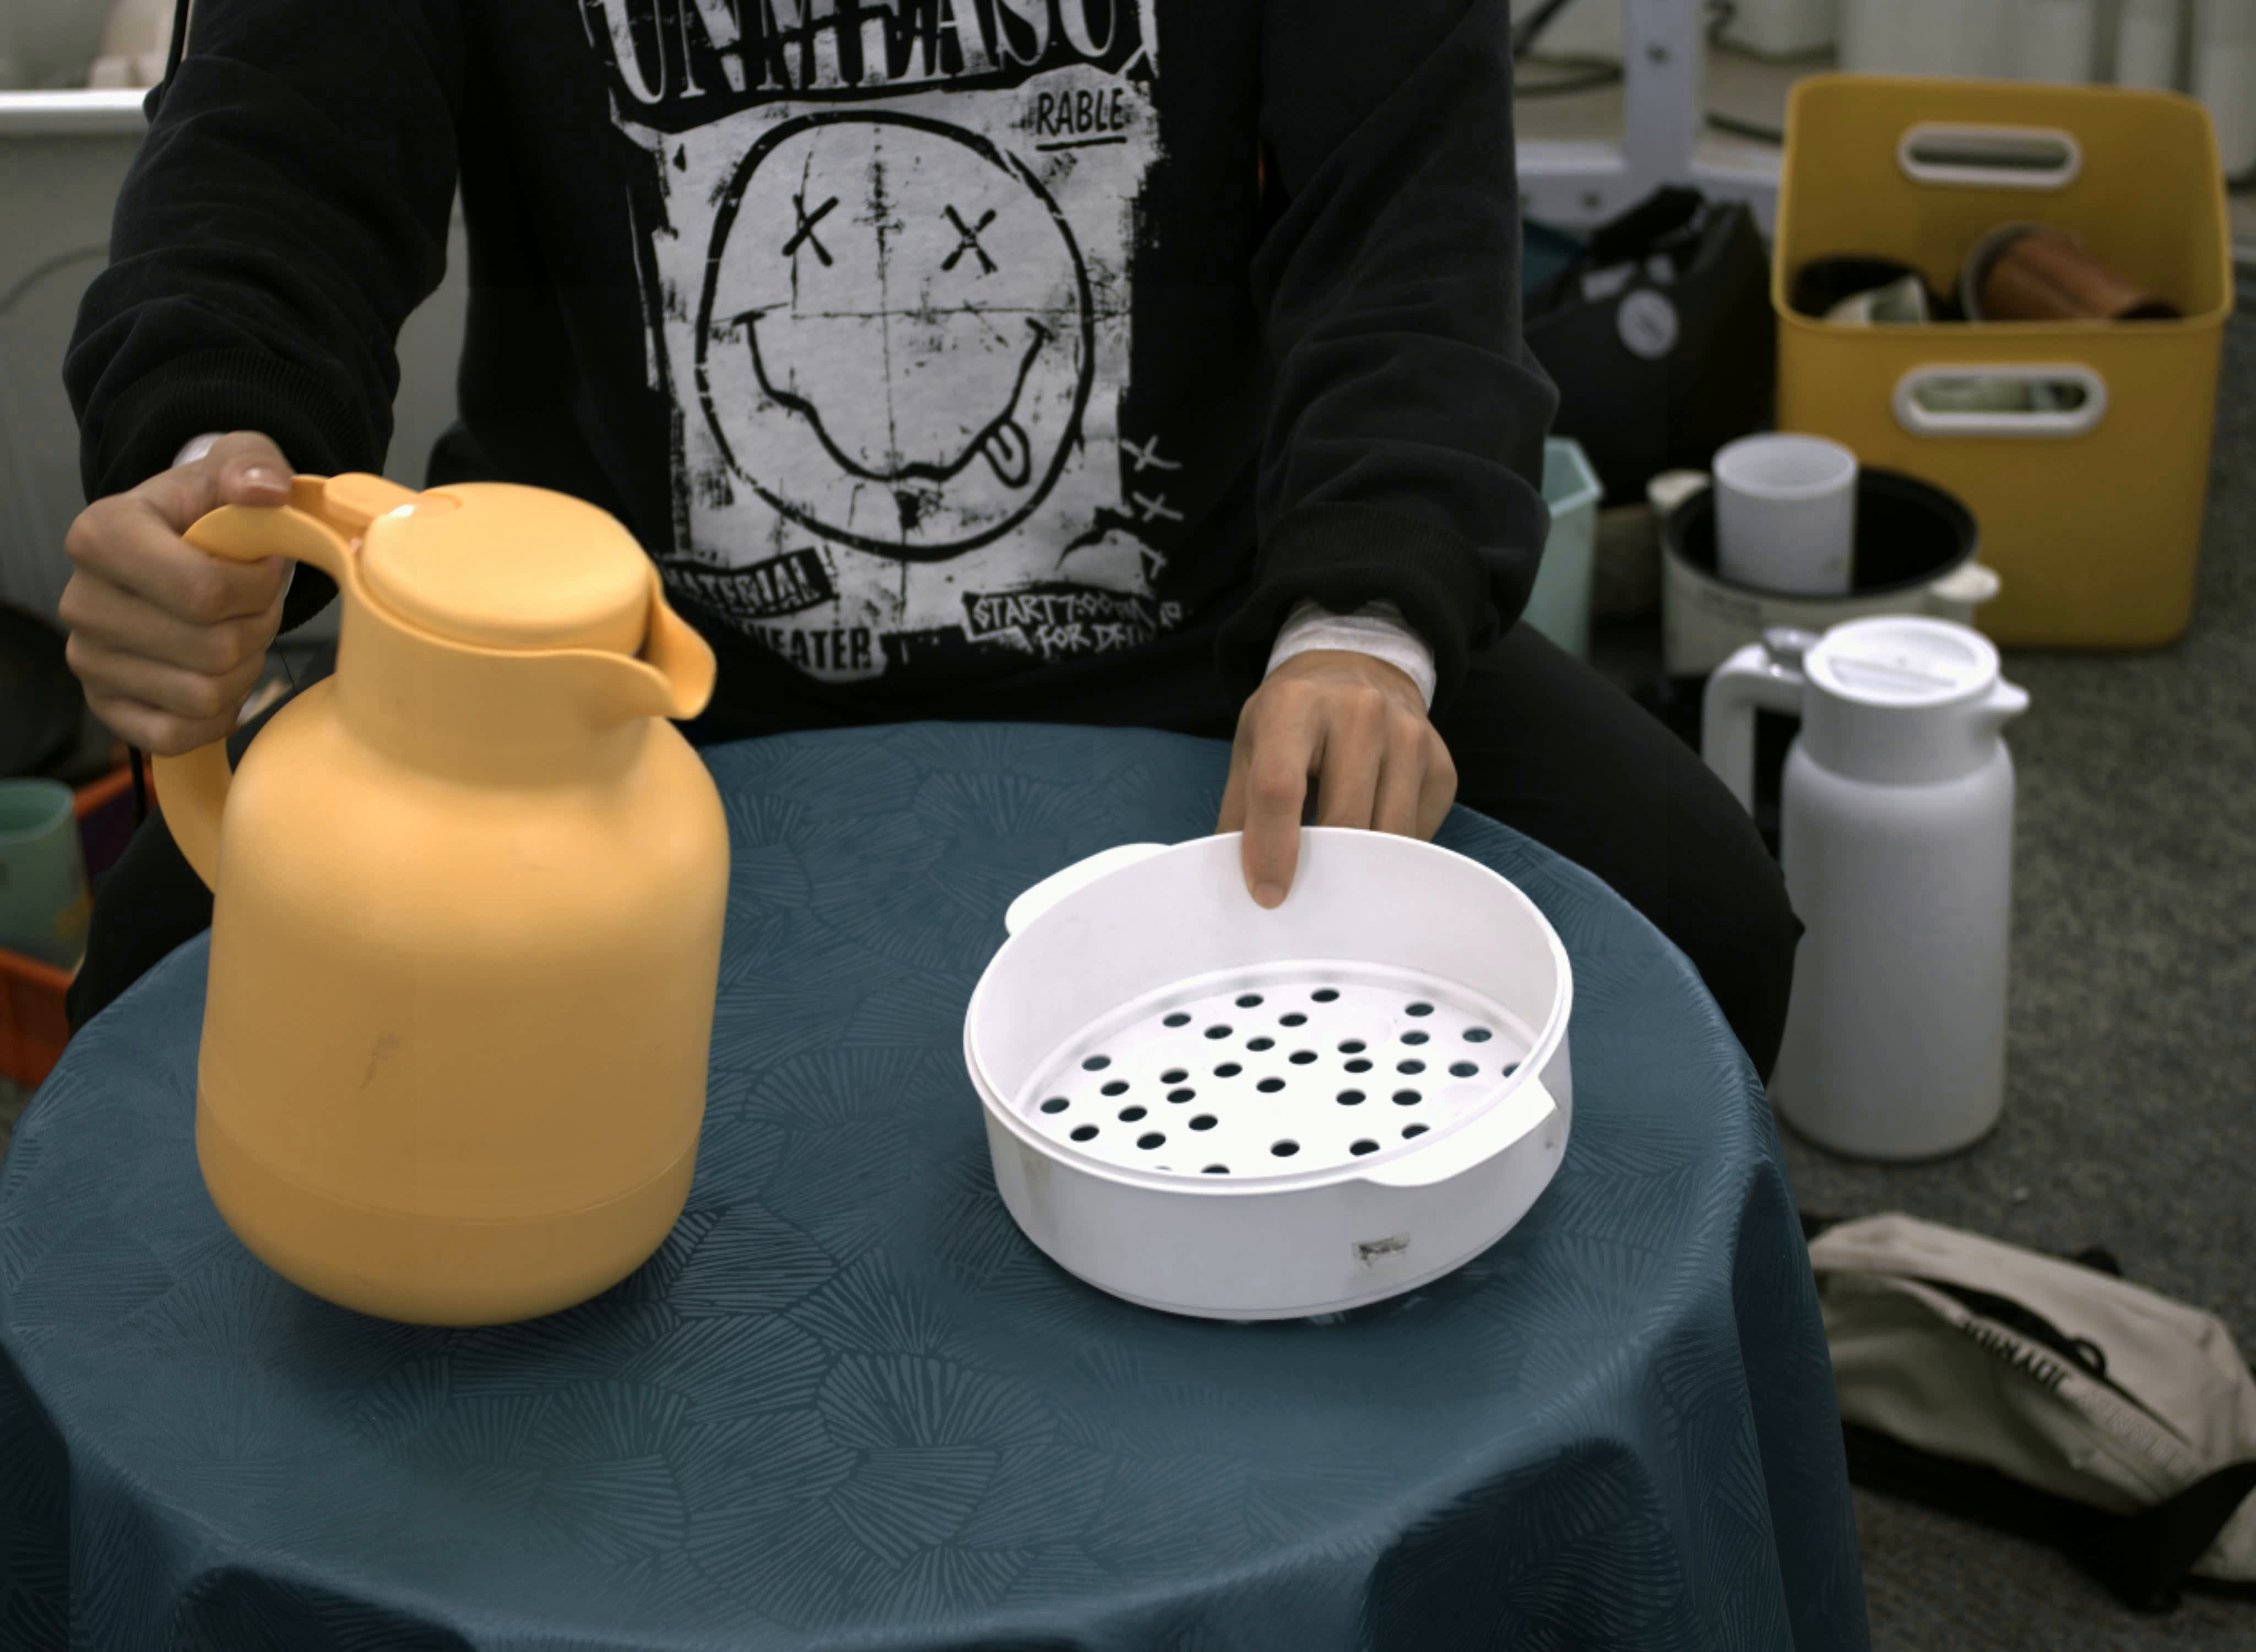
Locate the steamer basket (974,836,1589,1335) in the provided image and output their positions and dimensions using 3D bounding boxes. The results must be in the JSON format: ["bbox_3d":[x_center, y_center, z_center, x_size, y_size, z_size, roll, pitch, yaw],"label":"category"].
[{"bbox_3d":[0.052,0.086,1.839,0.204,0.068,0.231,-27,38,-28],"label":"steamer basket"}]

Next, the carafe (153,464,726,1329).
[{"bbox_3d":[-0.224,0.012,1.782,0.202,0.257,0.165,25,30,24],"label":"carafe"}]
